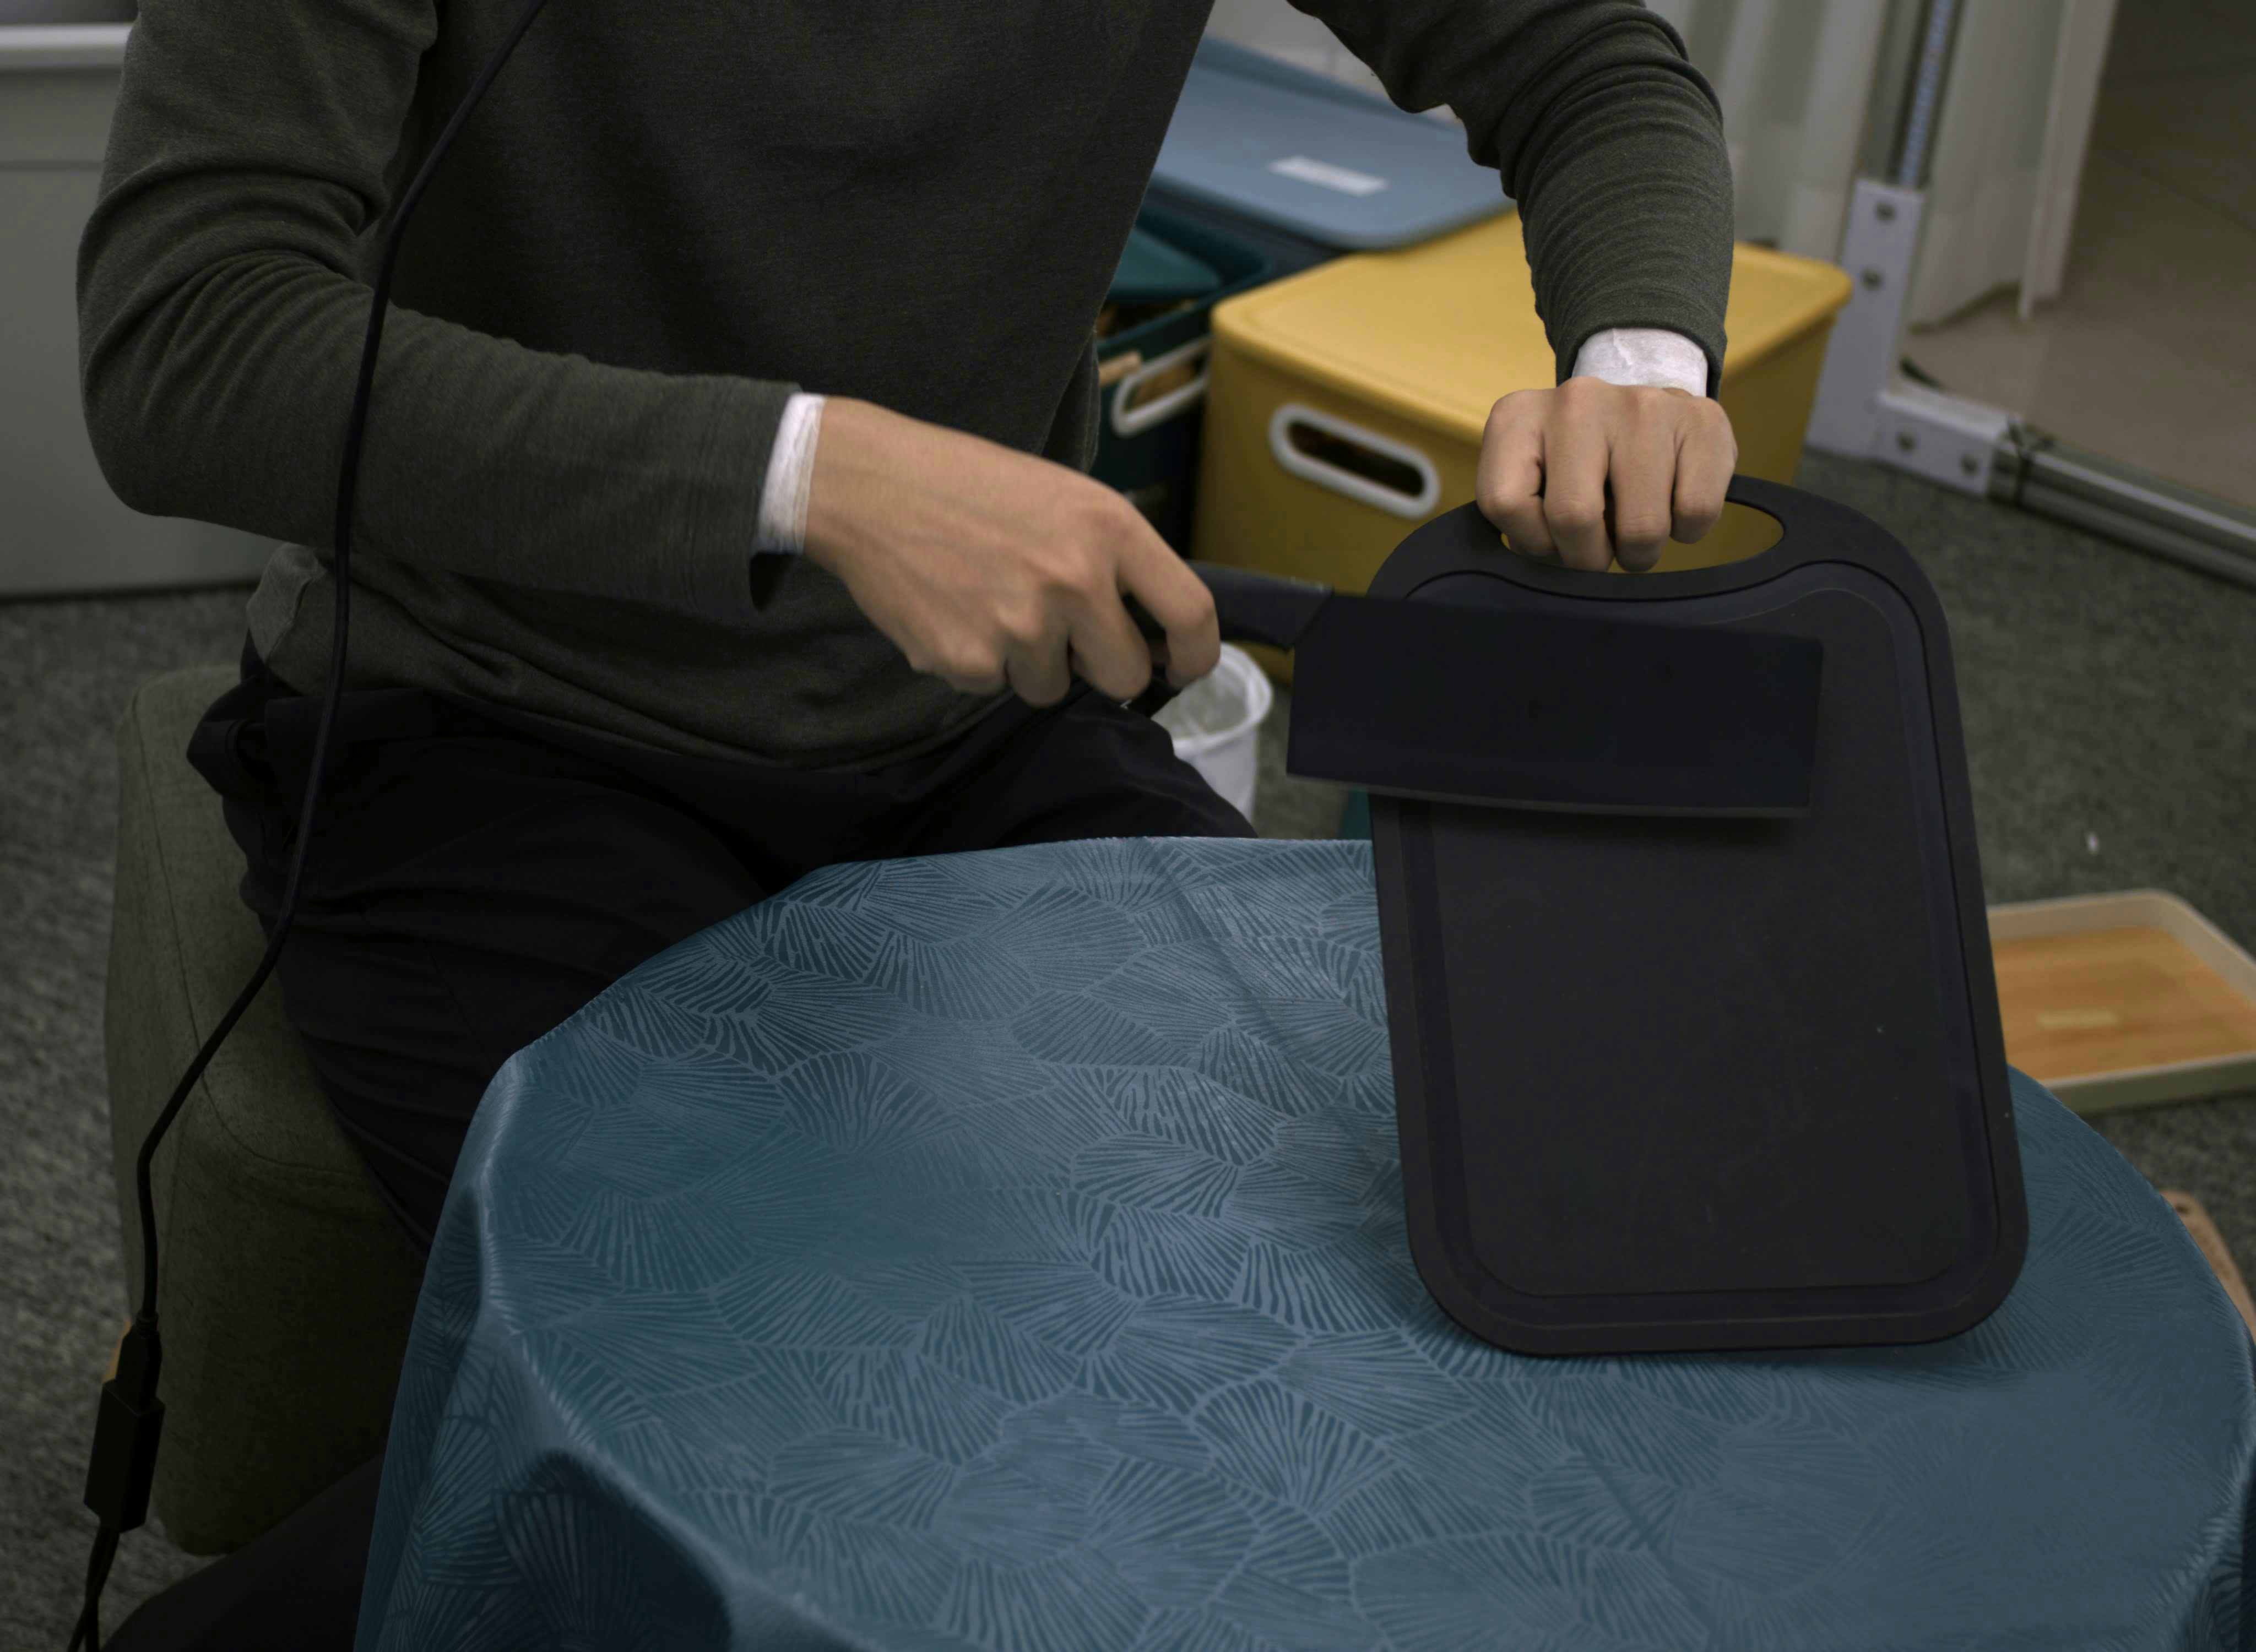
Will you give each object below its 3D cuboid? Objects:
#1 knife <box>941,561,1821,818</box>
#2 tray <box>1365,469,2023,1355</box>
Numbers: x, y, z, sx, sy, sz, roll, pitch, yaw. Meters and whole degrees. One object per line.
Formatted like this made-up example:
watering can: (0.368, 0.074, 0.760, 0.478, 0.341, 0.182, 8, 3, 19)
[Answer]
knife: (0.087, -0.048, 1.809, 0.301, 0.081, 0.021, 10, -7, 0)
tray: (0.187, 0.023, 1.809, 0.210, 0.010, 0.328, -1, 66, -5)
